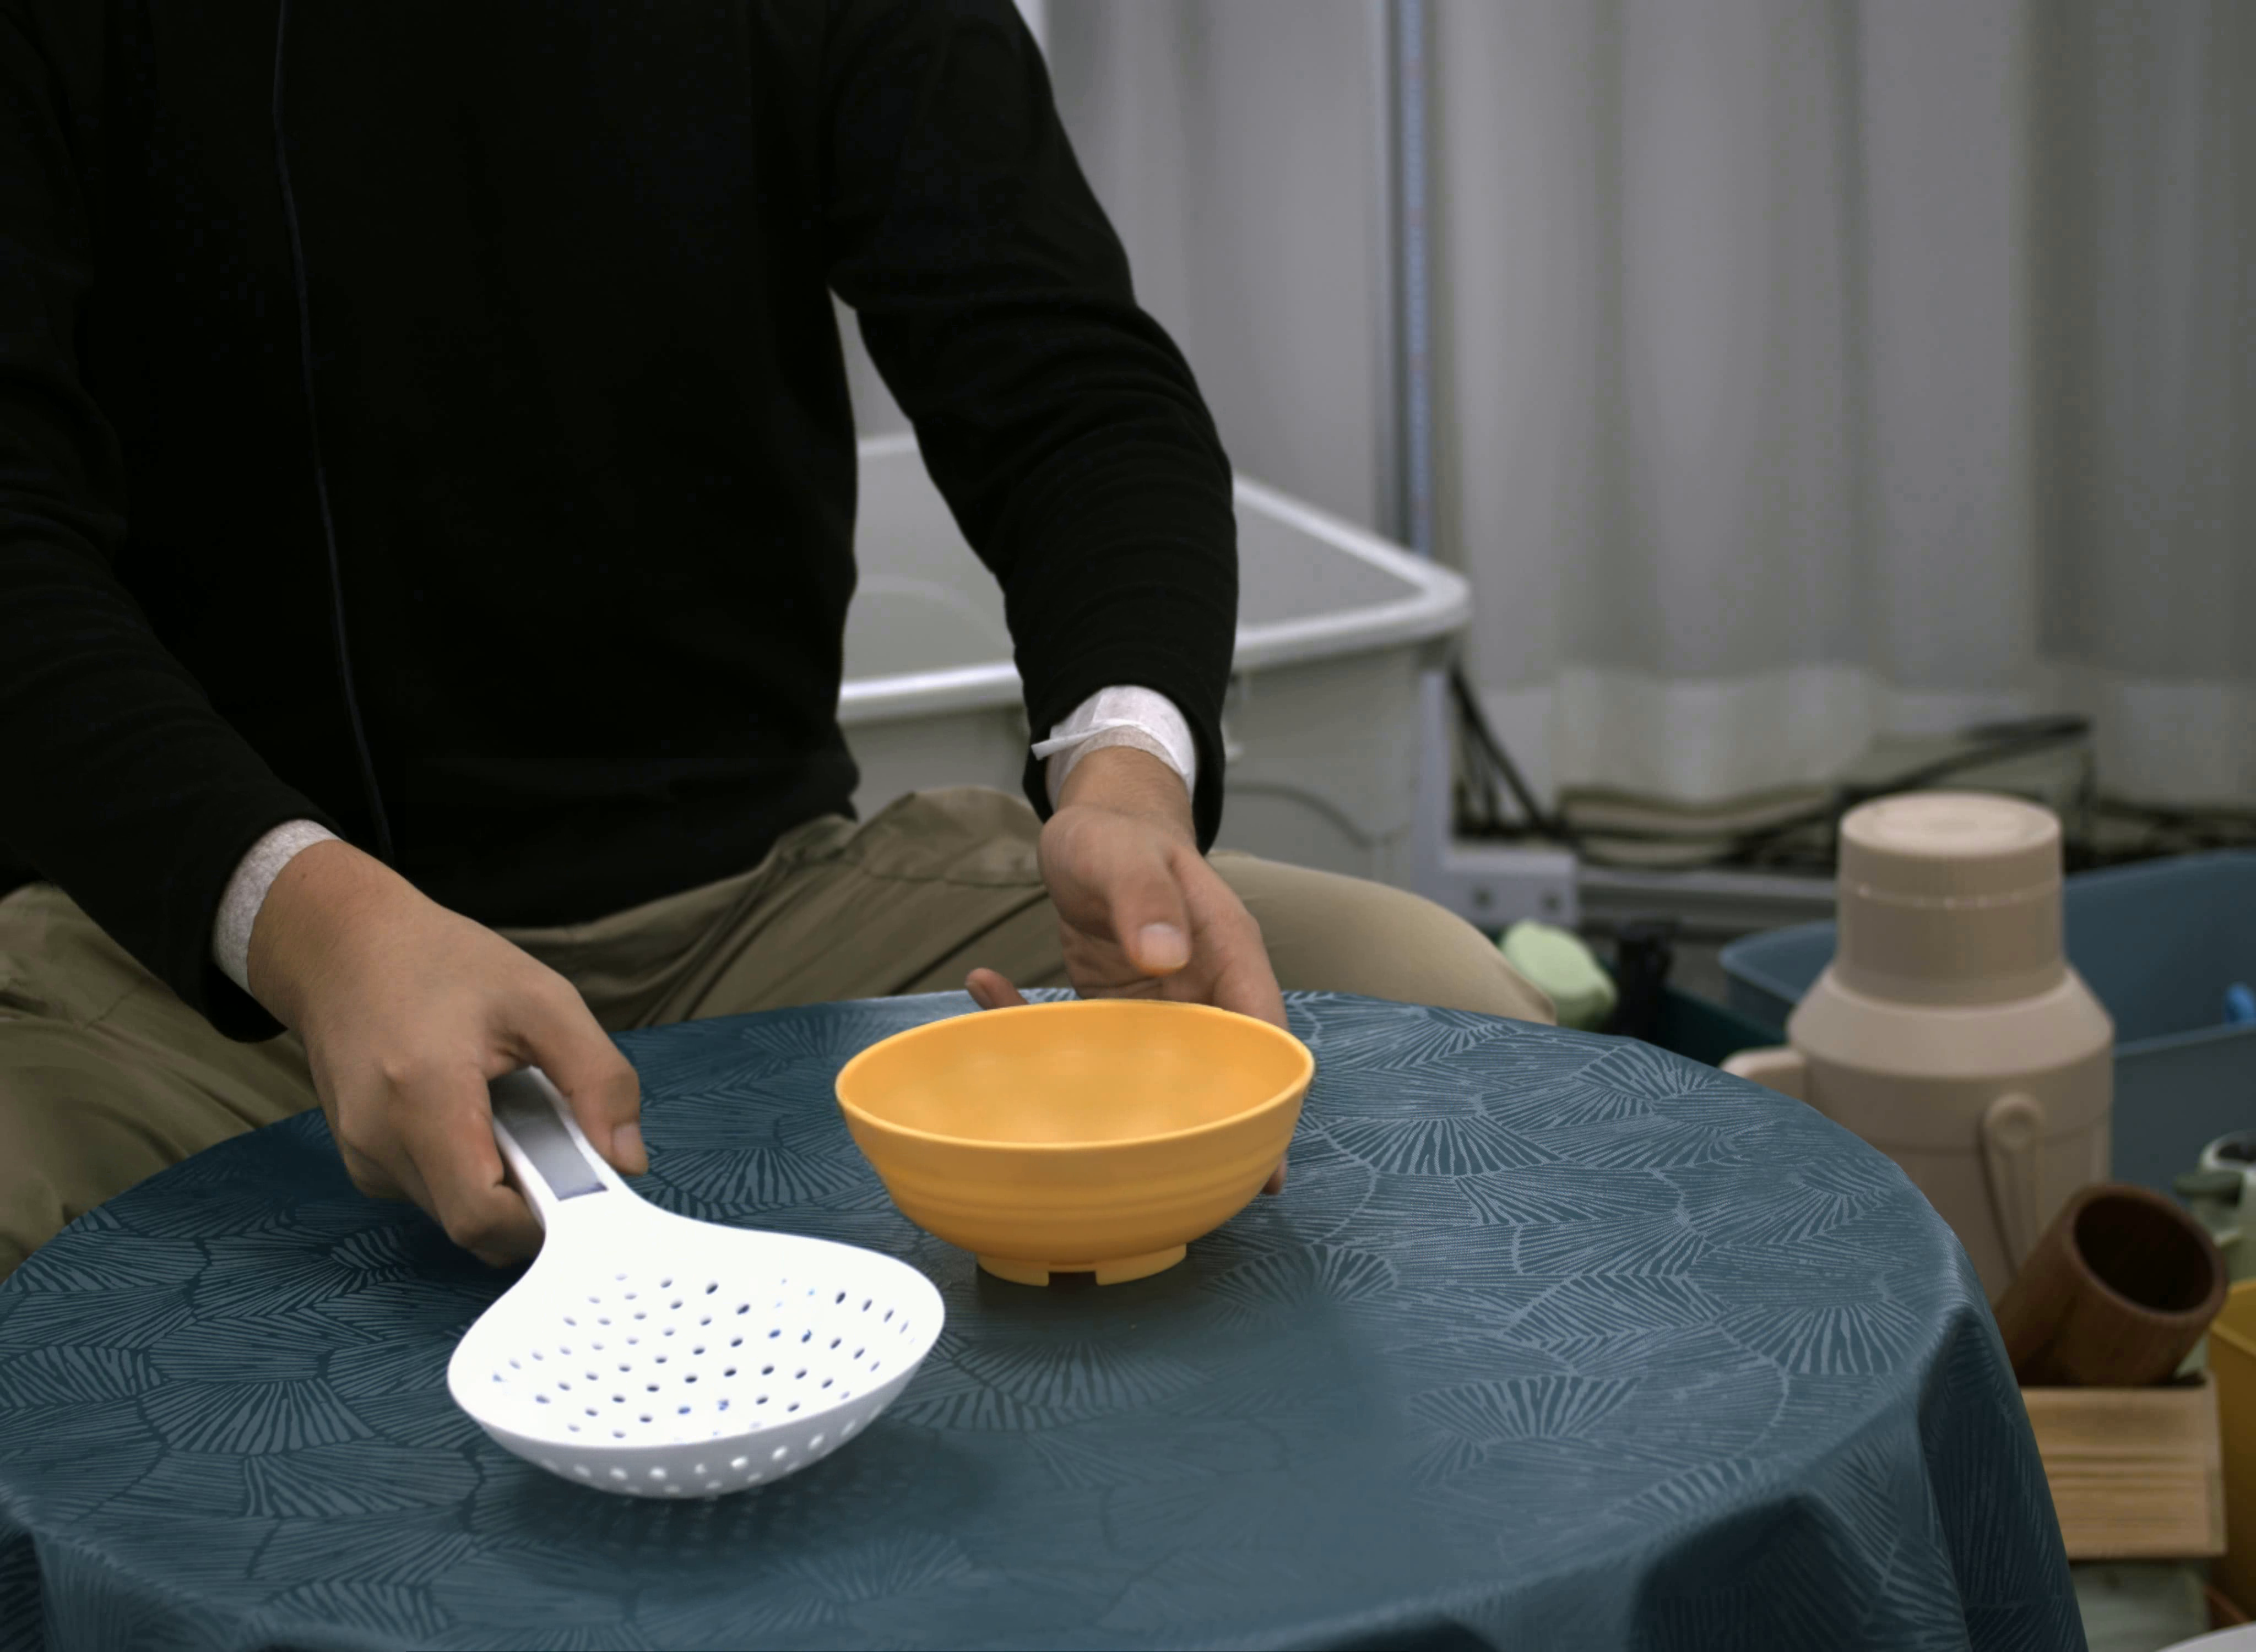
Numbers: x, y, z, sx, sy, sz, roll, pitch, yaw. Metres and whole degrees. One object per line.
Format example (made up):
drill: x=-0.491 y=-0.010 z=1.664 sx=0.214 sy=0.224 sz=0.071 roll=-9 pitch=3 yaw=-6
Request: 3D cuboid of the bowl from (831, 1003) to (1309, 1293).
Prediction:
bowl: x=-0.017 y=0.103 z=1.655 sx=0.145 sy=0.060 sz=0.146 roll=-1 pitch=14 yaw=0

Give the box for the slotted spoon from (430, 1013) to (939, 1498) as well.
slotted spoon: x=-0.154 y=0.116 z=1.588 sx=0.135 sy=0.045 sz=0.353 roll=-13 pitch=24 yaw=-16
